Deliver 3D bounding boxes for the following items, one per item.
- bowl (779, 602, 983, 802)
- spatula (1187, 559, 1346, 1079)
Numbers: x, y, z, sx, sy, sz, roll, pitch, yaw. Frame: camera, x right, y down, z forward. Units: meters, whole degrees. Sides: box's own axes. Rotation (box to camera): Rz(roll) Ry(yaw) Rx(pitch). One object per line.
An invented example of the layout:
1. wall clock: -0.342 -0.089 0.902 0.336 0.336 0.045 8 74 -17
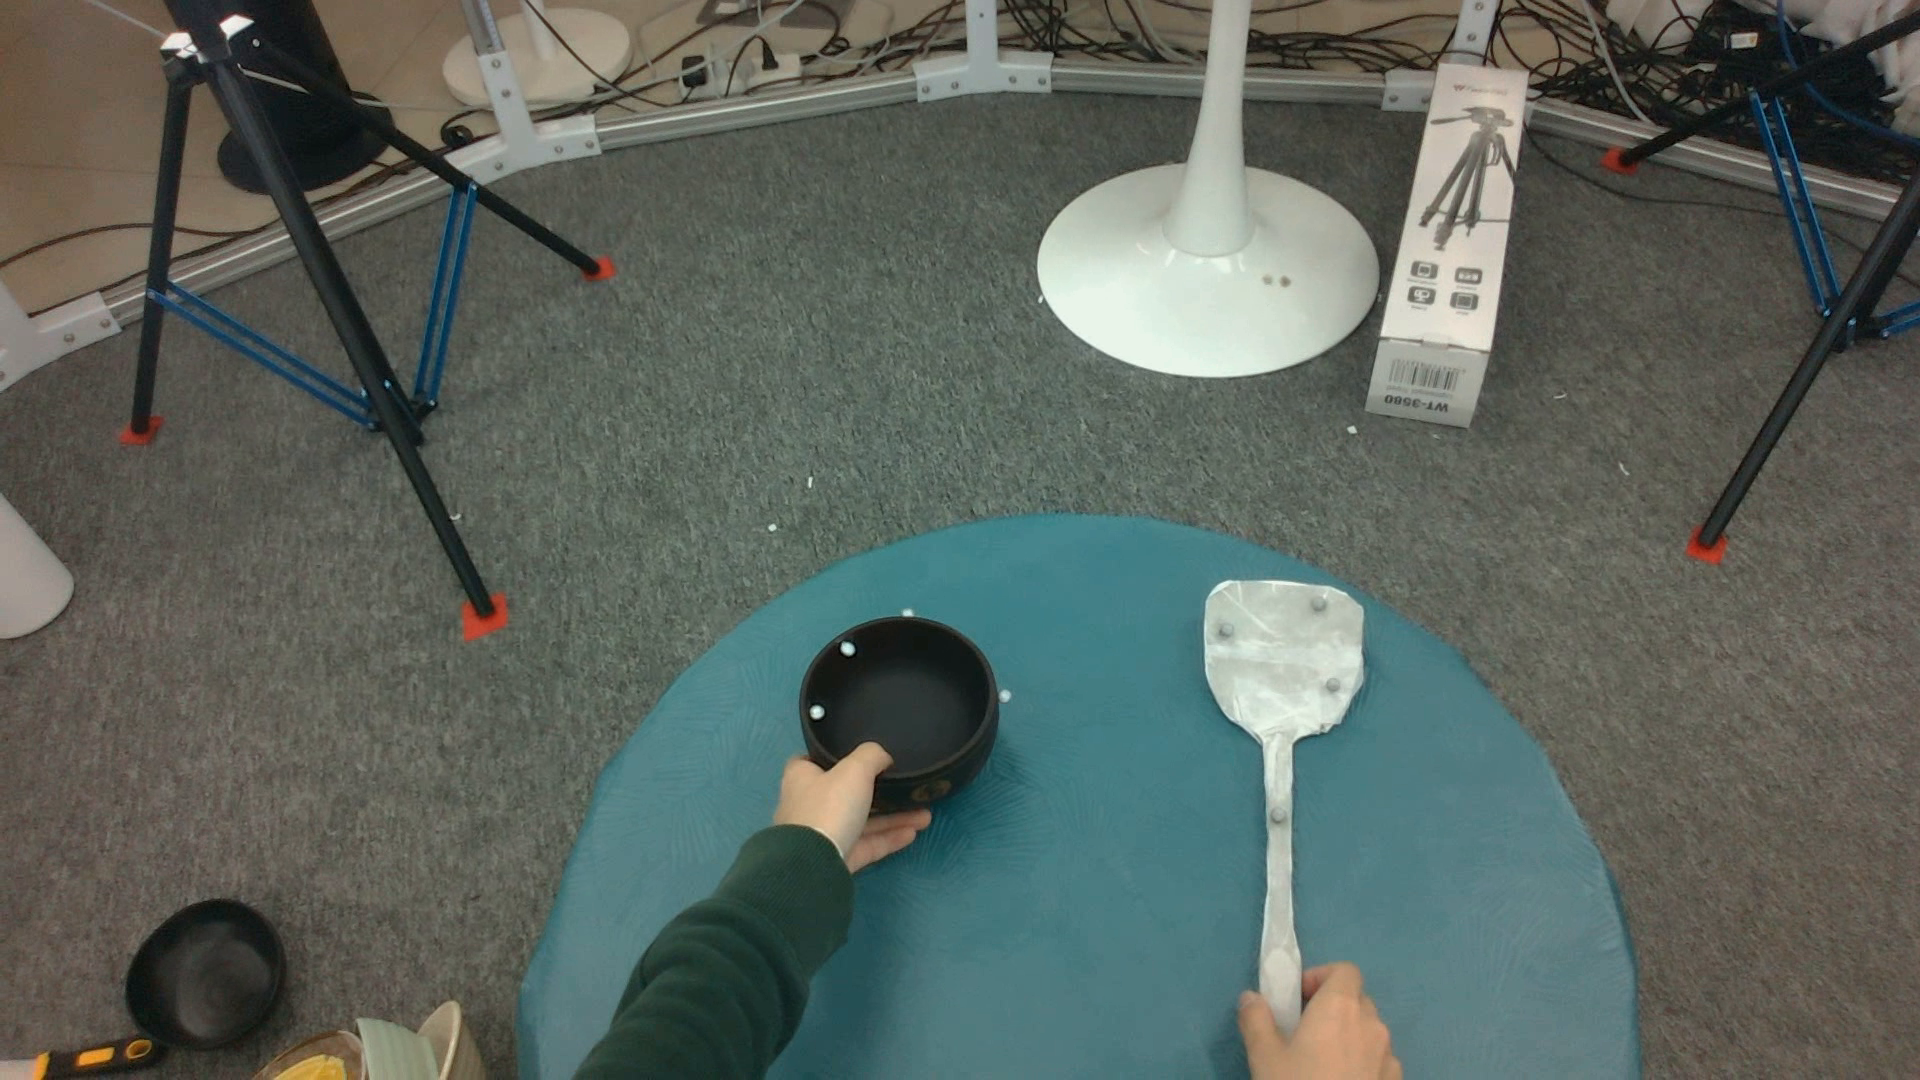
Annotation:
1. bowl: -0.045 0.103 0.818 0.118 0.069 0.118 -2 52 2
2. spatula: 0.167 0.166 0.777 0.098 0.044 0.367 7 50 6
